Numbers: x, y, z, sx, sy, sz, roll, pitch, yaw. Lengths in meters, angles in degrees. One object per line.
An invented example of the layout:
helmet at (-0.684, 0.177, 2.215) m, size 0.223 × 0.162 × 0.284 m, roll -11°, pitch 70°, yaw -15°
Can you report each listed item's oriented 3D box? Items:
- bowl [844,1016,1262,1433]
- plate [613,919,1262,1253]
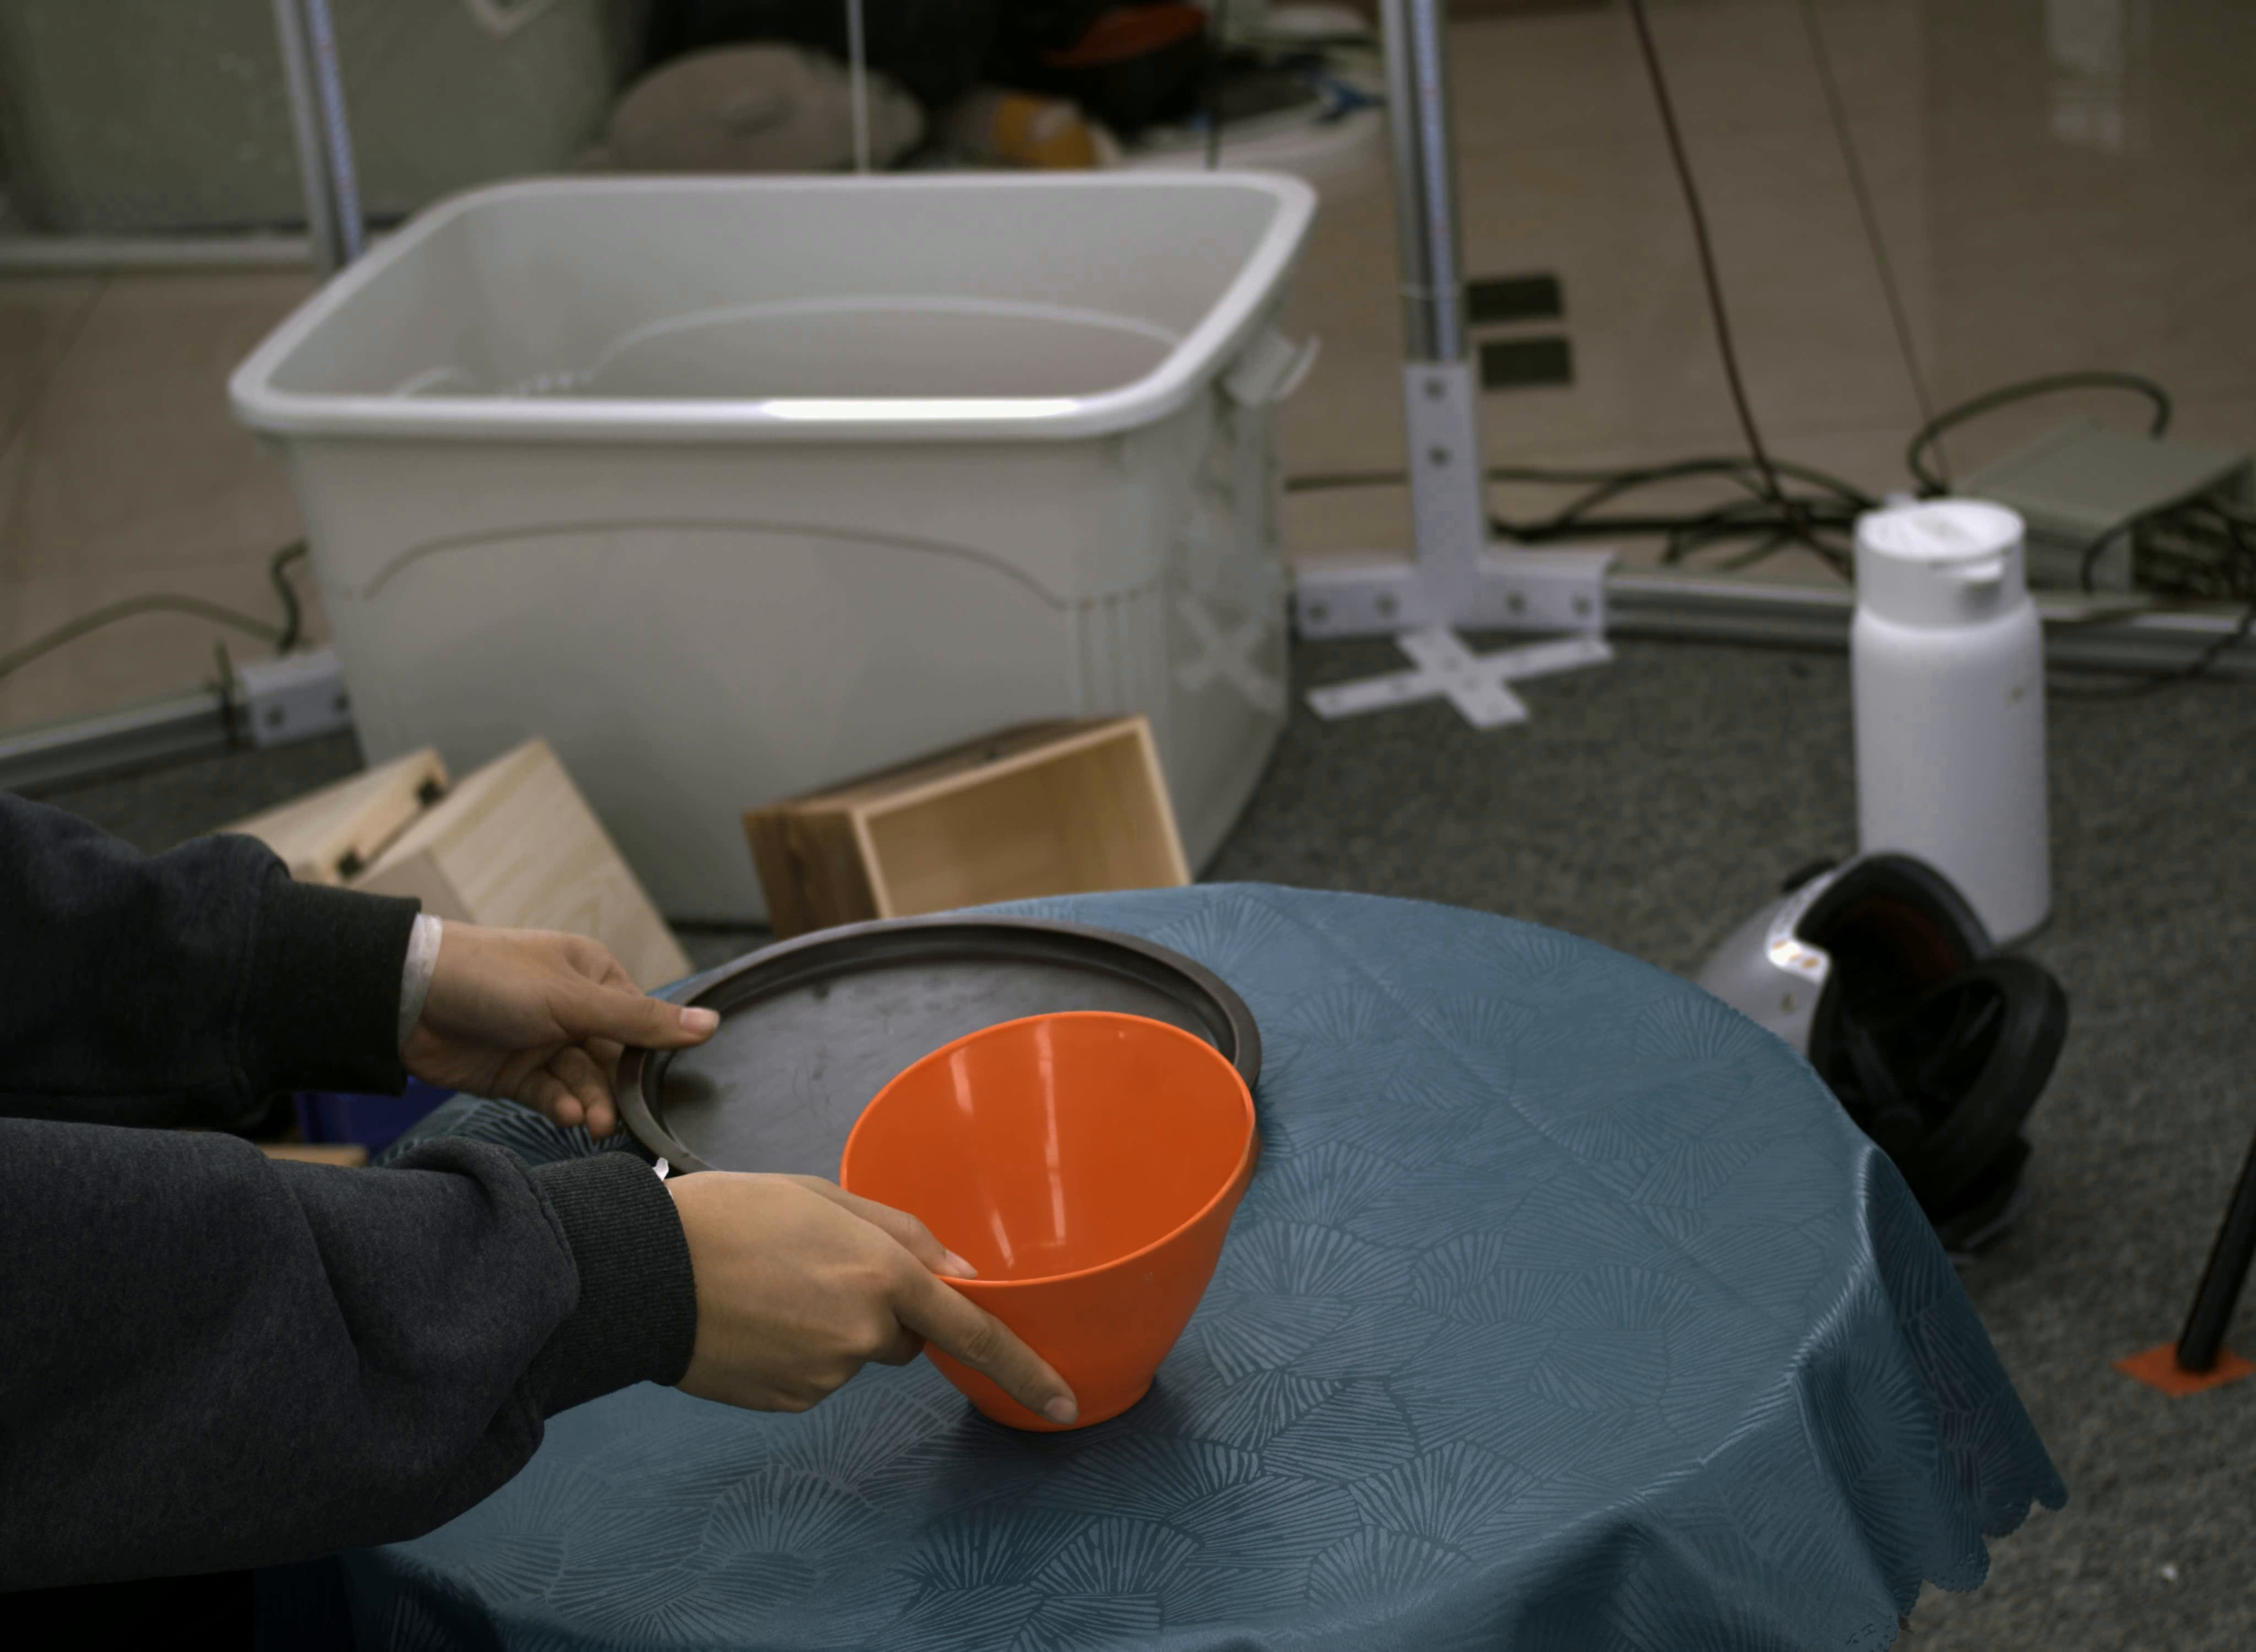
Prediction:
bowl at (-0.025, 0.148, 2.007) m, size 0.148 × 0.106 × 0.146 m, roll -2°, pitch 27°, yaw 1°
plate at (-0.074, 0.099, 2.207) m, size 0.254 × 0.029 × 0.251 m, roll -2°, pitch 27°, yaw 1°
